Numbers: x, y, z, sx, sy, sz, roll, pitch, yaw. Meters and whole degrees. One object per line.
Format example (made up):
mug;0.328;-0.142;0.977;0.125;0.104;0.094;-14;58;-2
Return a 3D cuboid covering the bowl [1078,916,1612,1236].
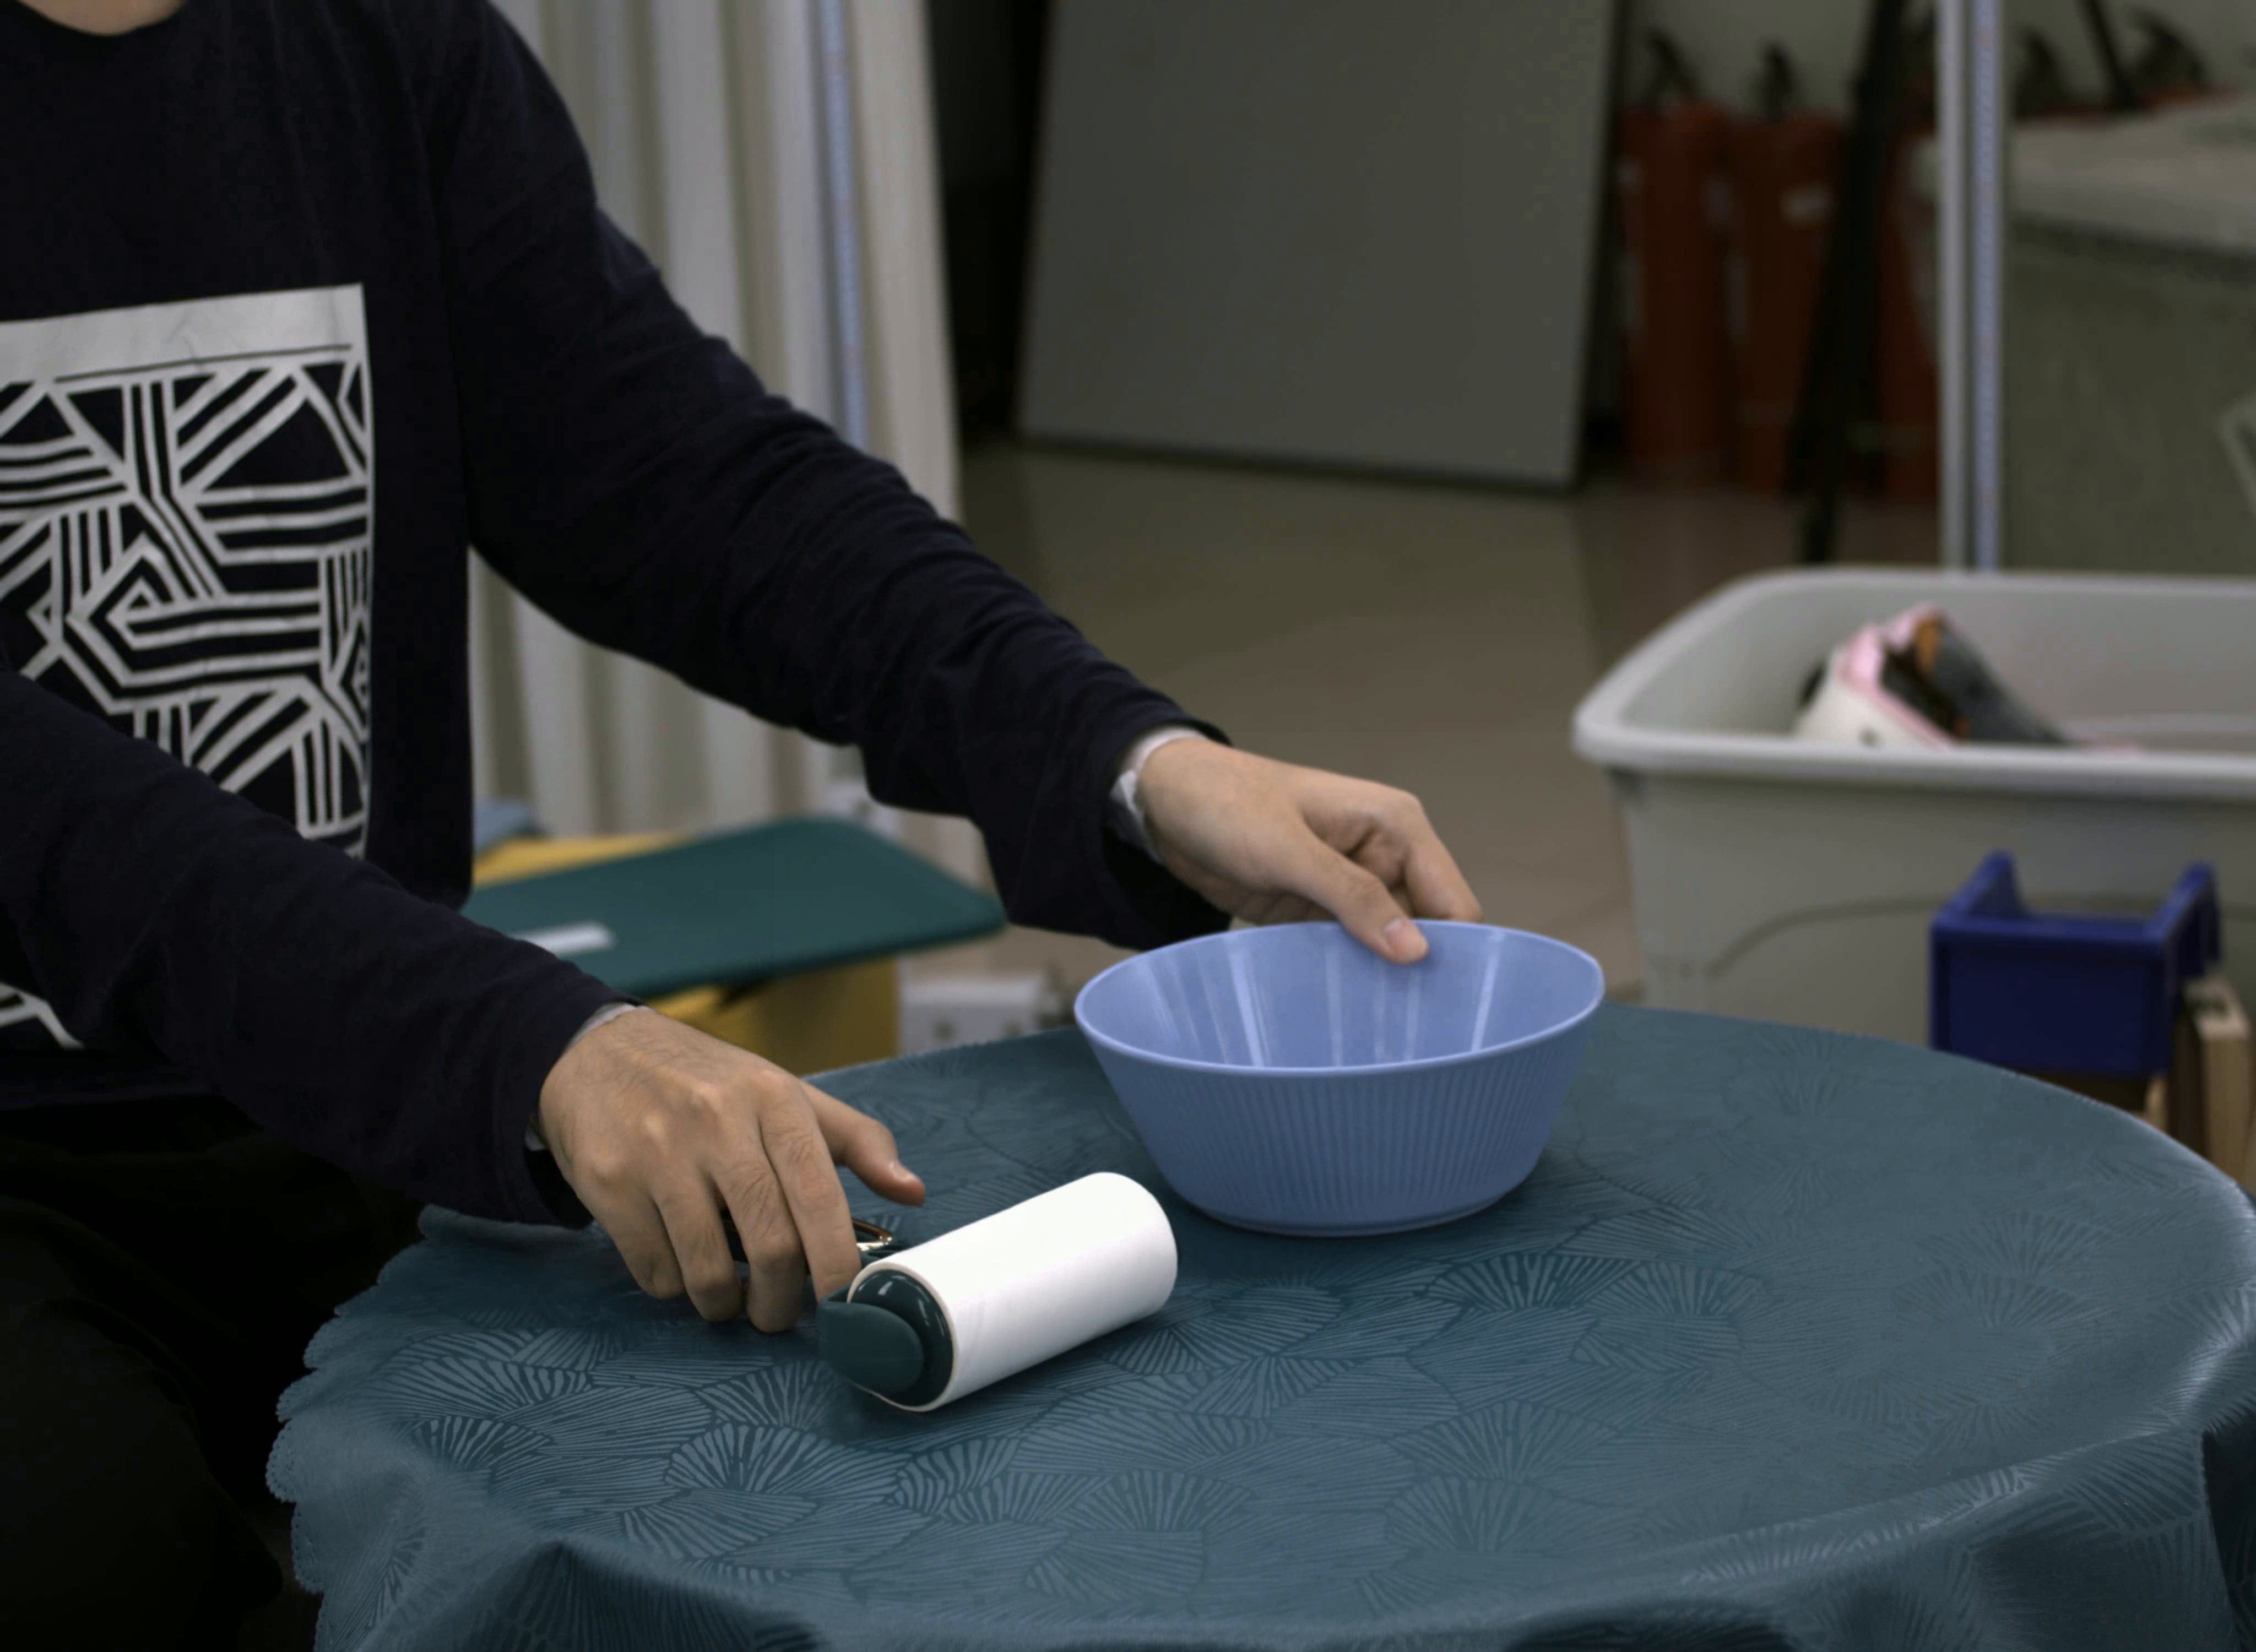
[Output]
bowl;0.072;0.084;1.755;0.174;0.071;0.176;-4;13;0

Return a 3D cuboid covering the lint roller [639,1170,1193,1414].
lint roller;-0.085;0.128;1.654;0.181;0.049;0.132;11;20;41
